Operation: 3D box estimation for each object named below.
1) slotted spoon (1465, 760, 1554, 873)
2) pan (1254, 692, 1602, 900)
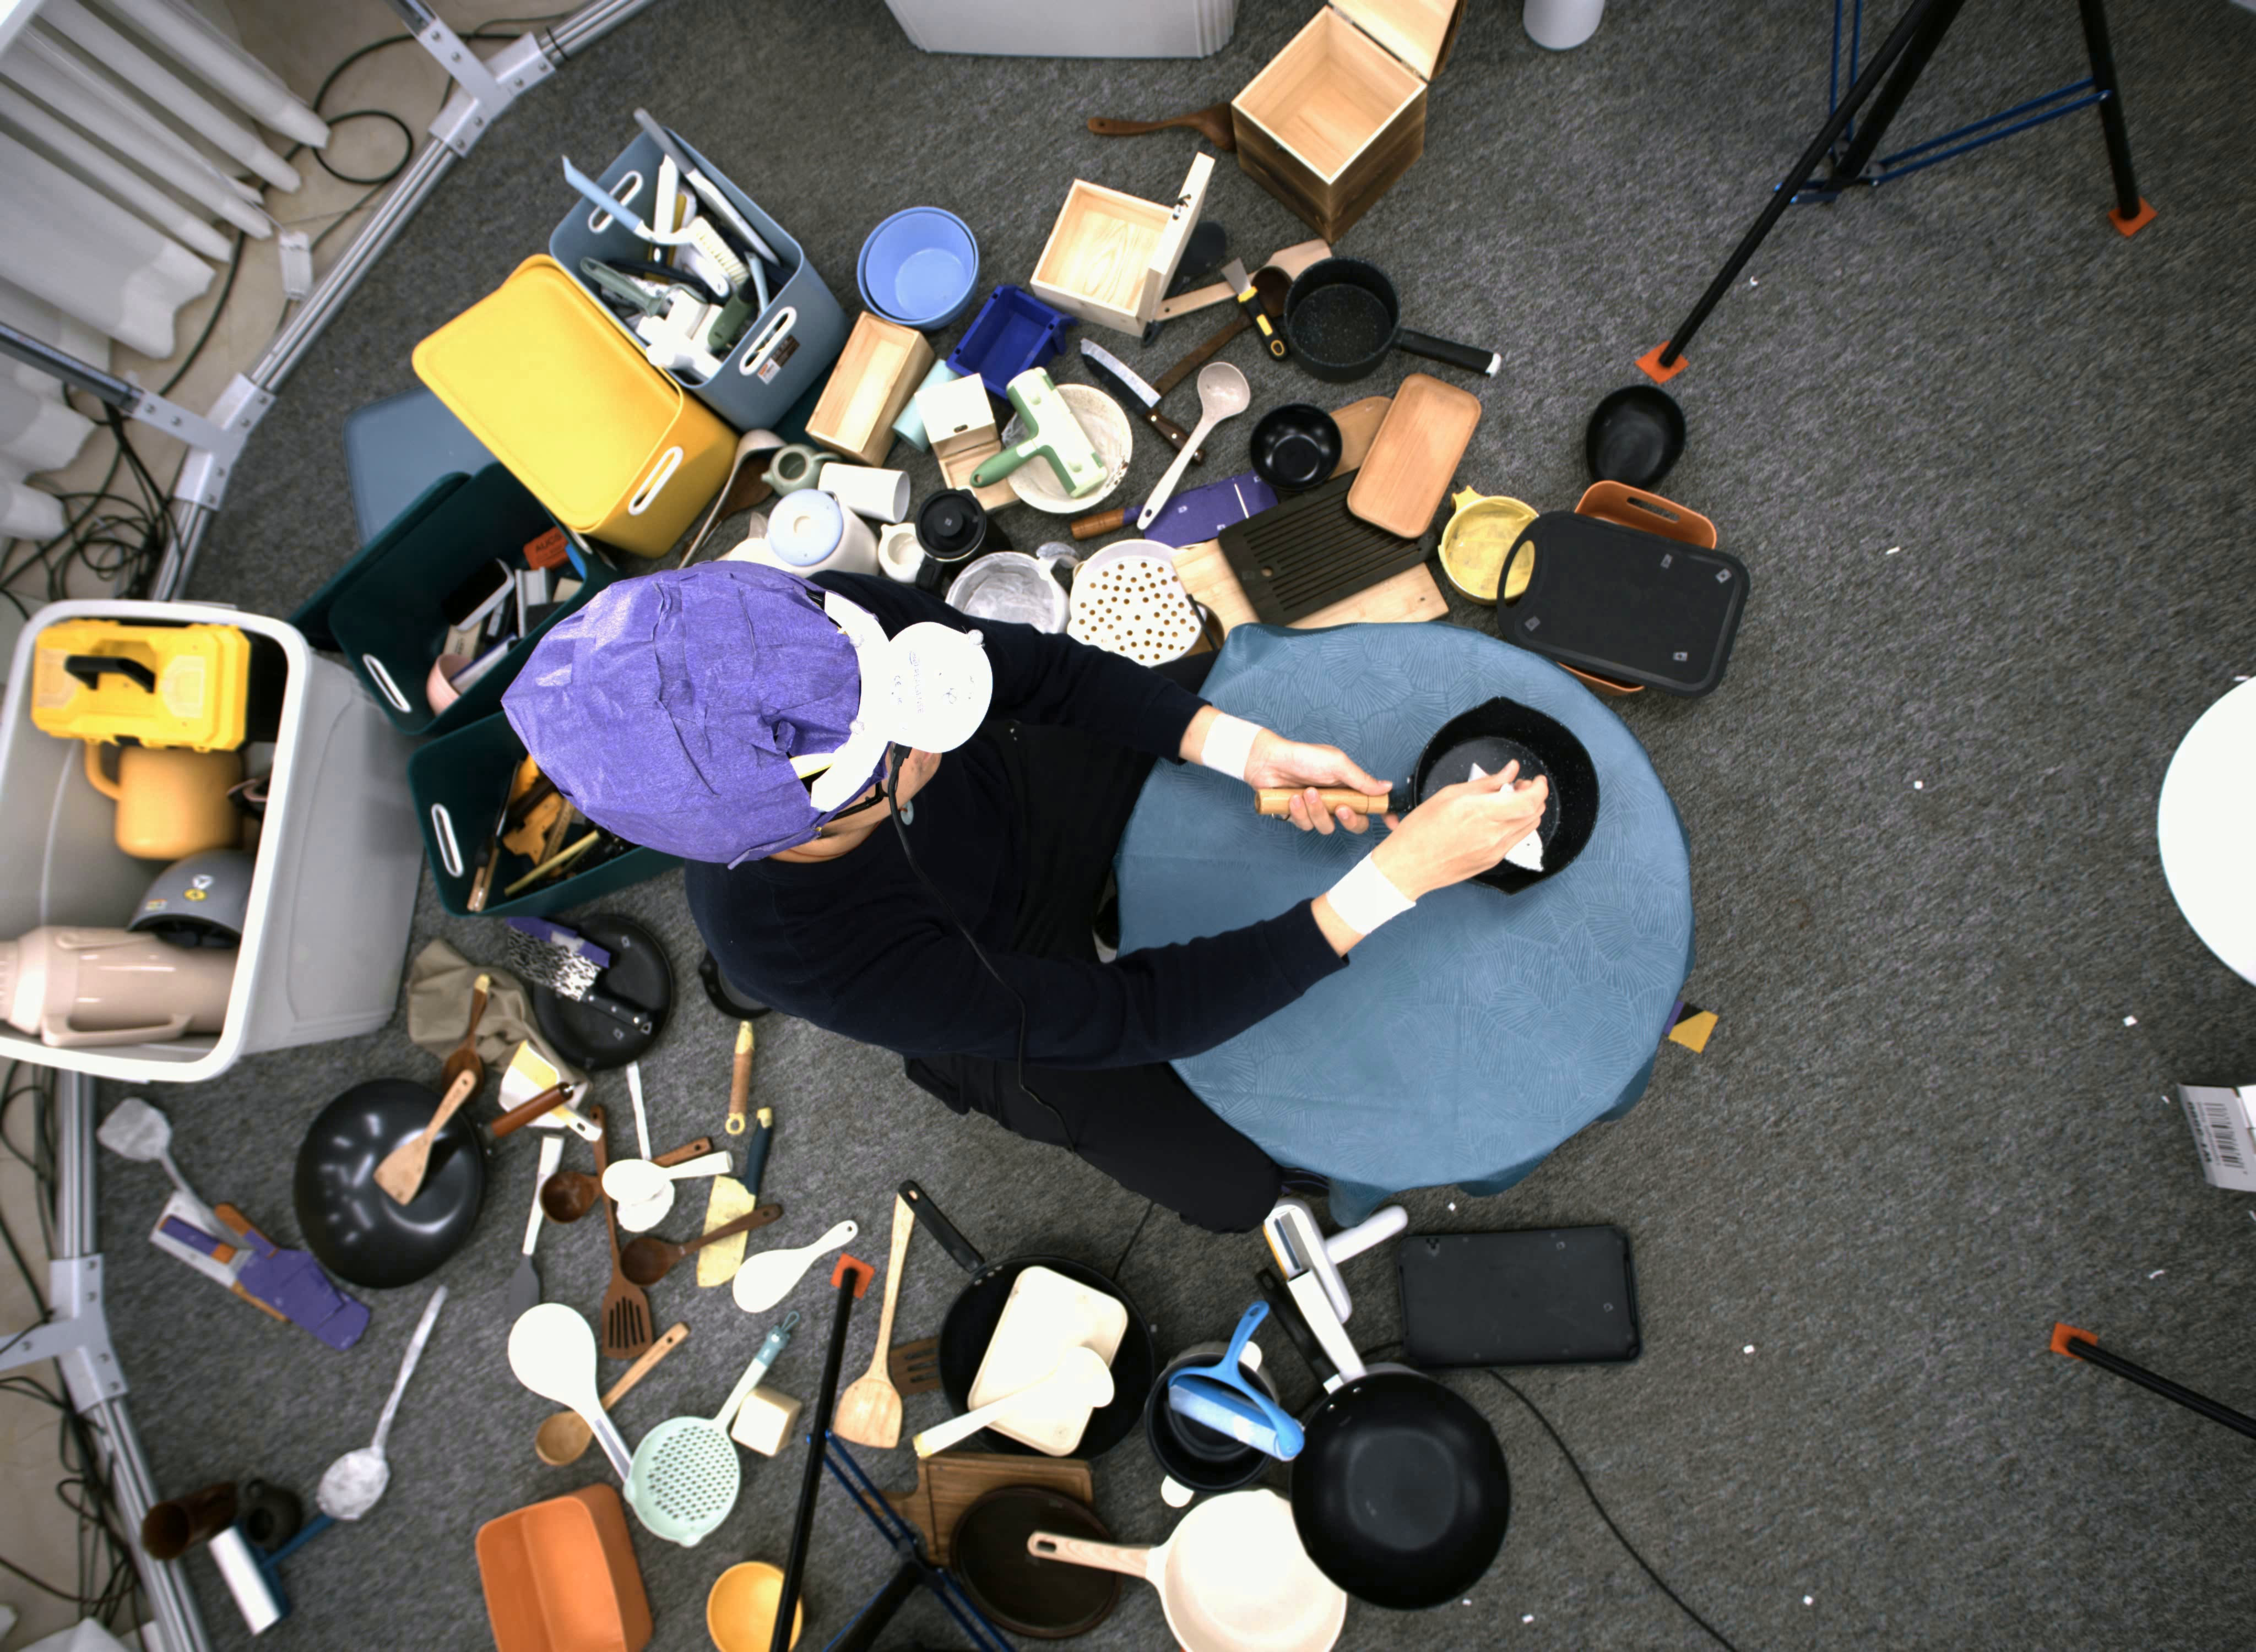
[{"bbox_3d":[0.350,-0.014,1.264,0.050,0.349,0.136,-34,79,4],"label":"slotted spoon"},{"bbox_3d":[0.297,-0.025,1.389,0.343,0.108,0.206,-3,86,2],"label":"pan"}]
